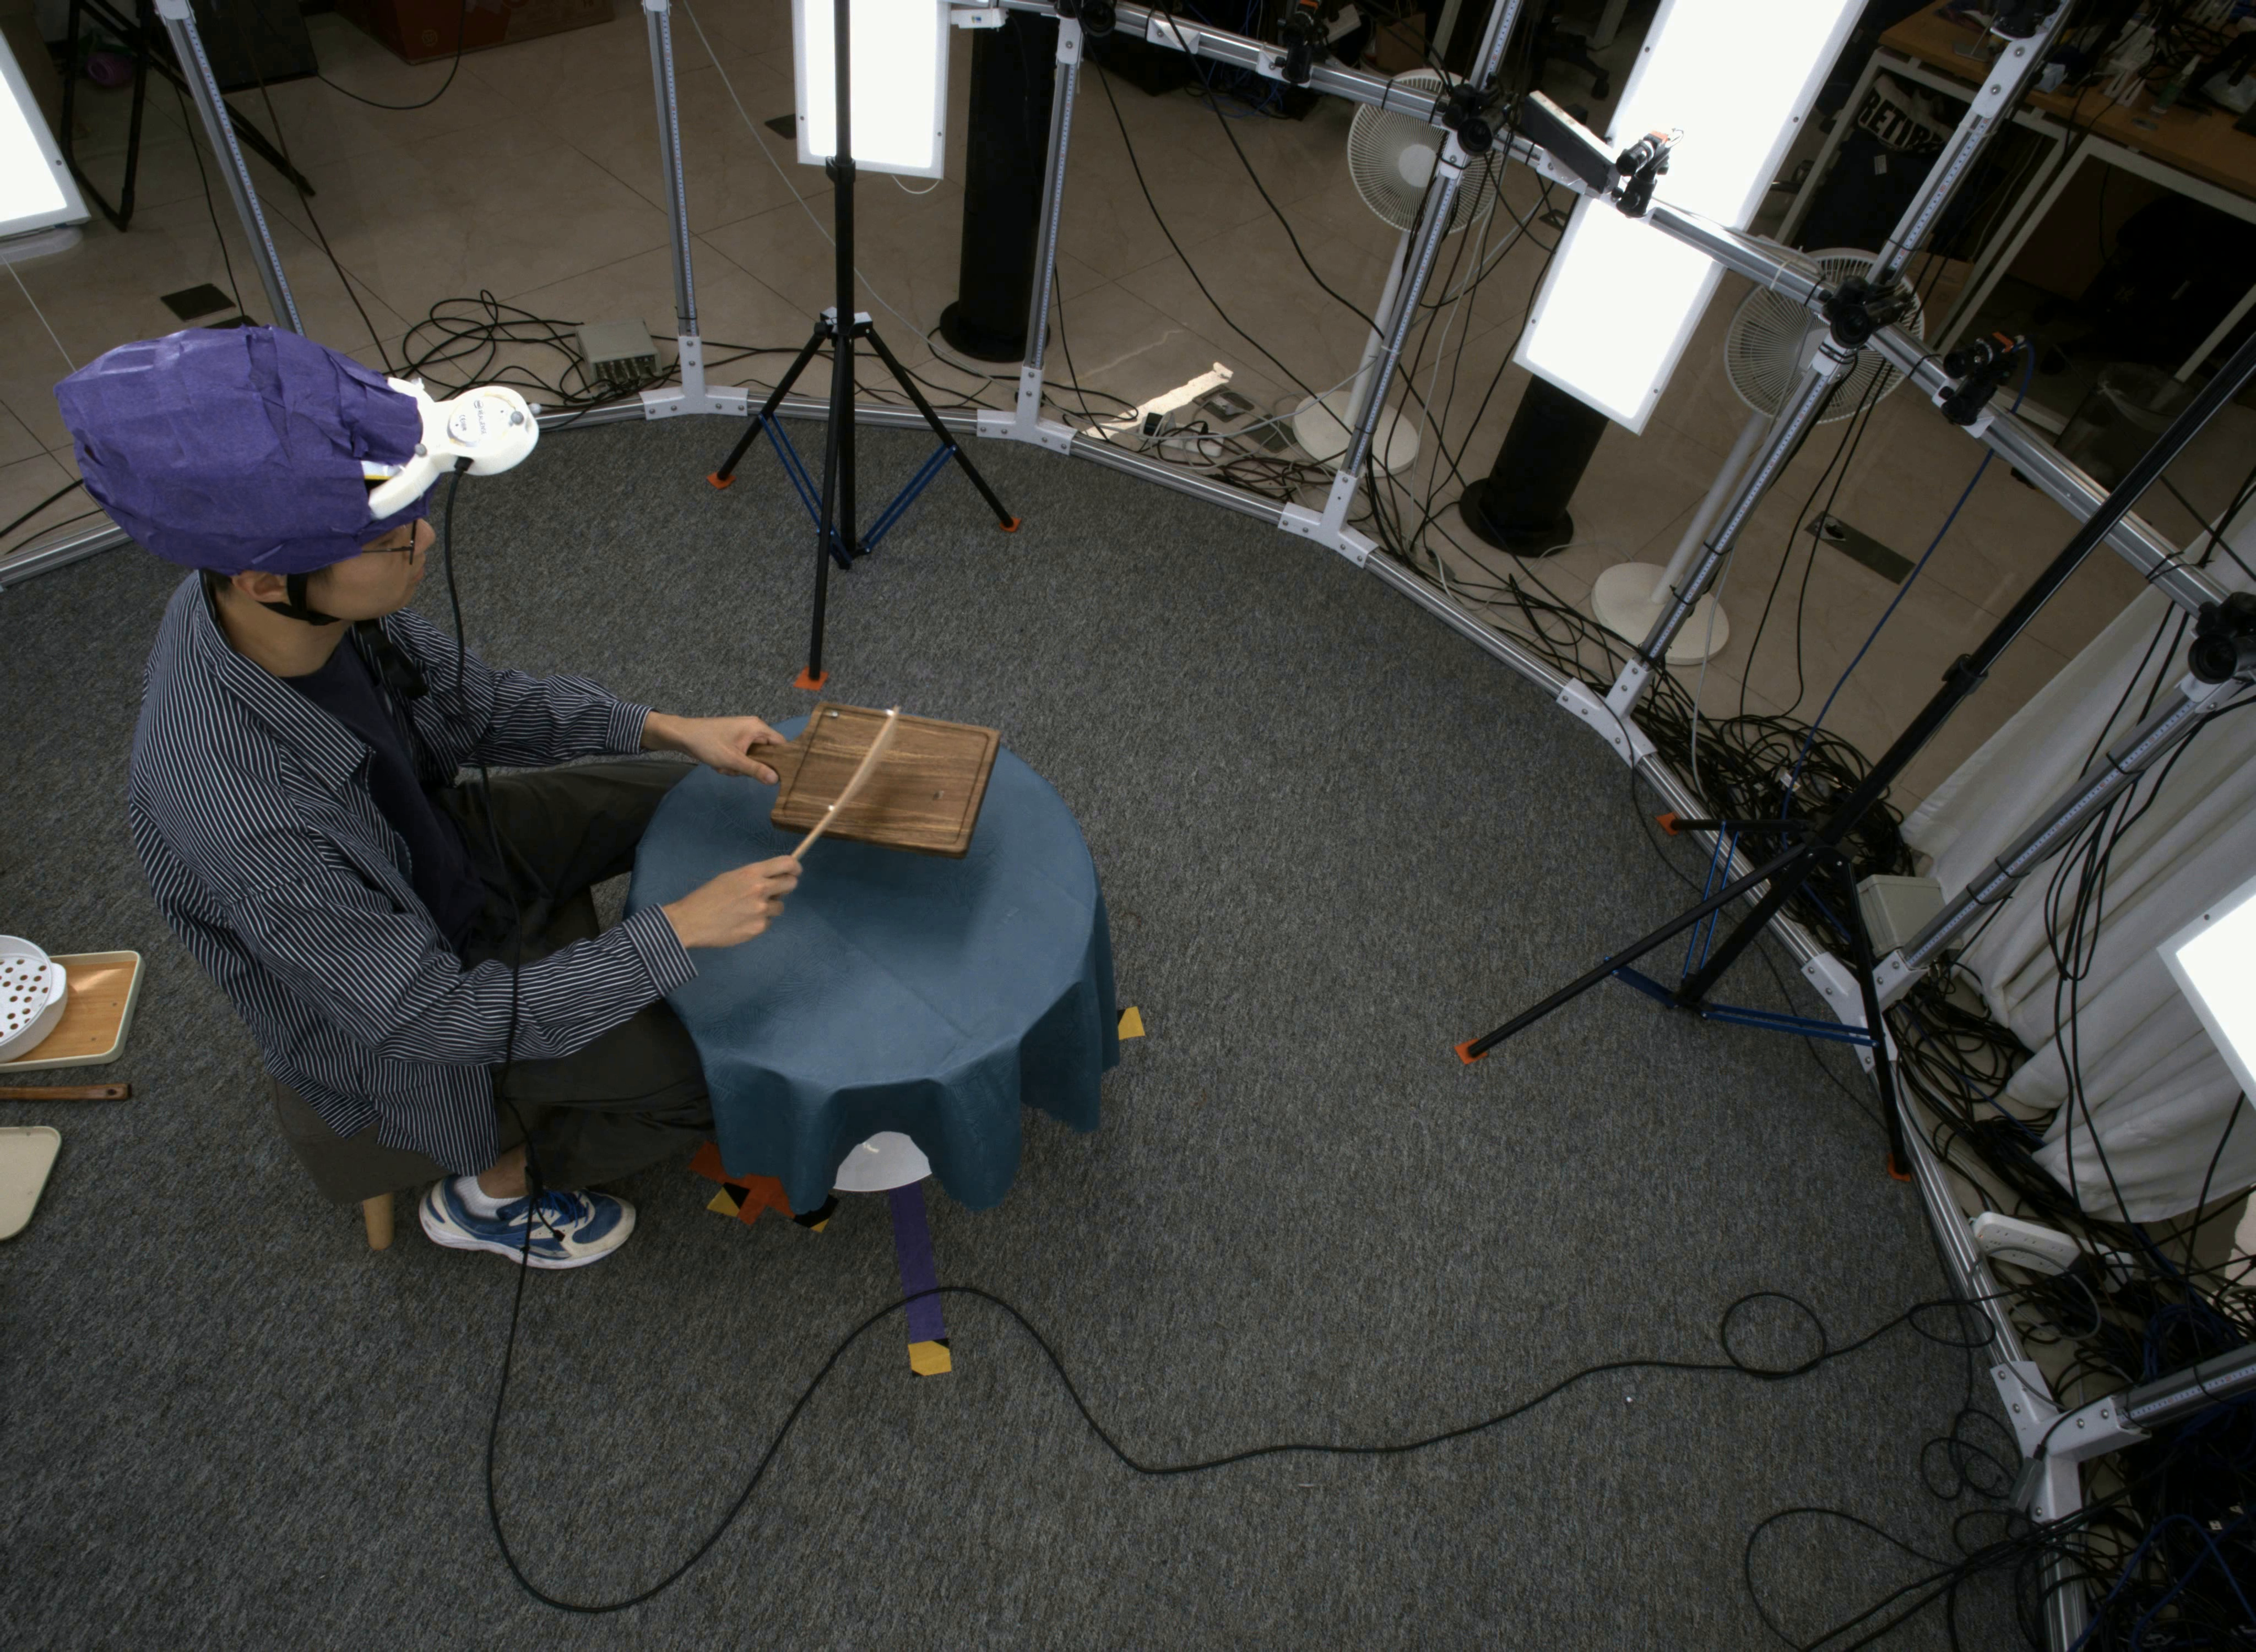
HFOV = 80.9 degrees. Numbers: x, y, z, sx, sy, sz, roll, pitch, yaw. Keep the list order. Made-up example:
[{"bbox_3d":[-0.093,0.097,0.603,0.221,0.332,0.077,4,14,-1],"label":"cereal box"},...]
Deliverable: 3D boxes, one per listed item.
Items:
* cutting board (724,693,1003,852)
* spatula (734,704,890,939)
[{"bbox_3d":[-0.350,-0.080,1.664,0.347,0.024,0.199,10,57,3],"label":"cutting board"},{"bbox_3d":[-0.372,-0.004,1.546,0.016,0.080,0.327,33,71,3],"label":"spatula"}]
